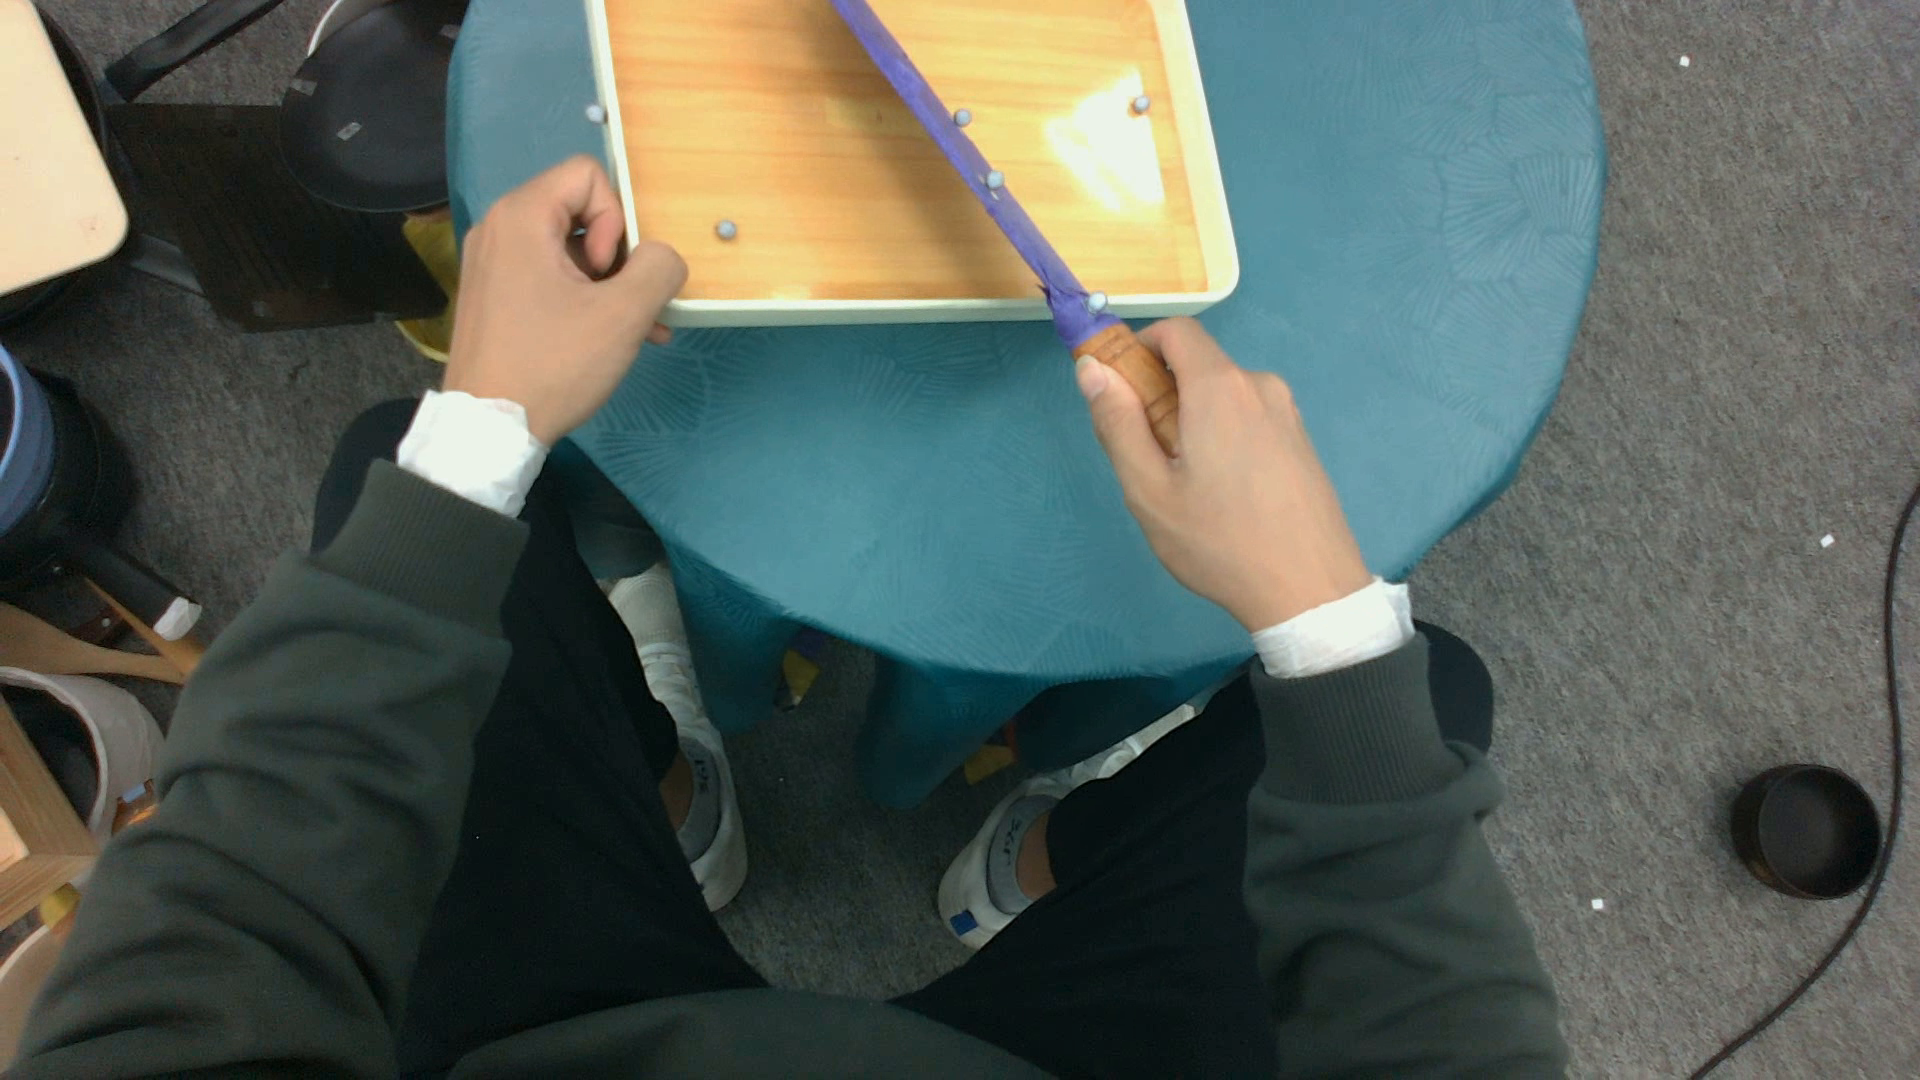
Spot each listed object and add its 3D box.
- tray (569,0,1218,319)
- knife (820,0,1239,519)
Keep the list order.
[{"bbox_3d":[-0.023,-0.200,0.648,0.301,0.027,0.192,-6,80,-25],"label":"tray"},{"bbox_3d":[0.020,-0.147,0.598,0.032,0.104,0.315,-37,86,18],"label":"knife"}]
